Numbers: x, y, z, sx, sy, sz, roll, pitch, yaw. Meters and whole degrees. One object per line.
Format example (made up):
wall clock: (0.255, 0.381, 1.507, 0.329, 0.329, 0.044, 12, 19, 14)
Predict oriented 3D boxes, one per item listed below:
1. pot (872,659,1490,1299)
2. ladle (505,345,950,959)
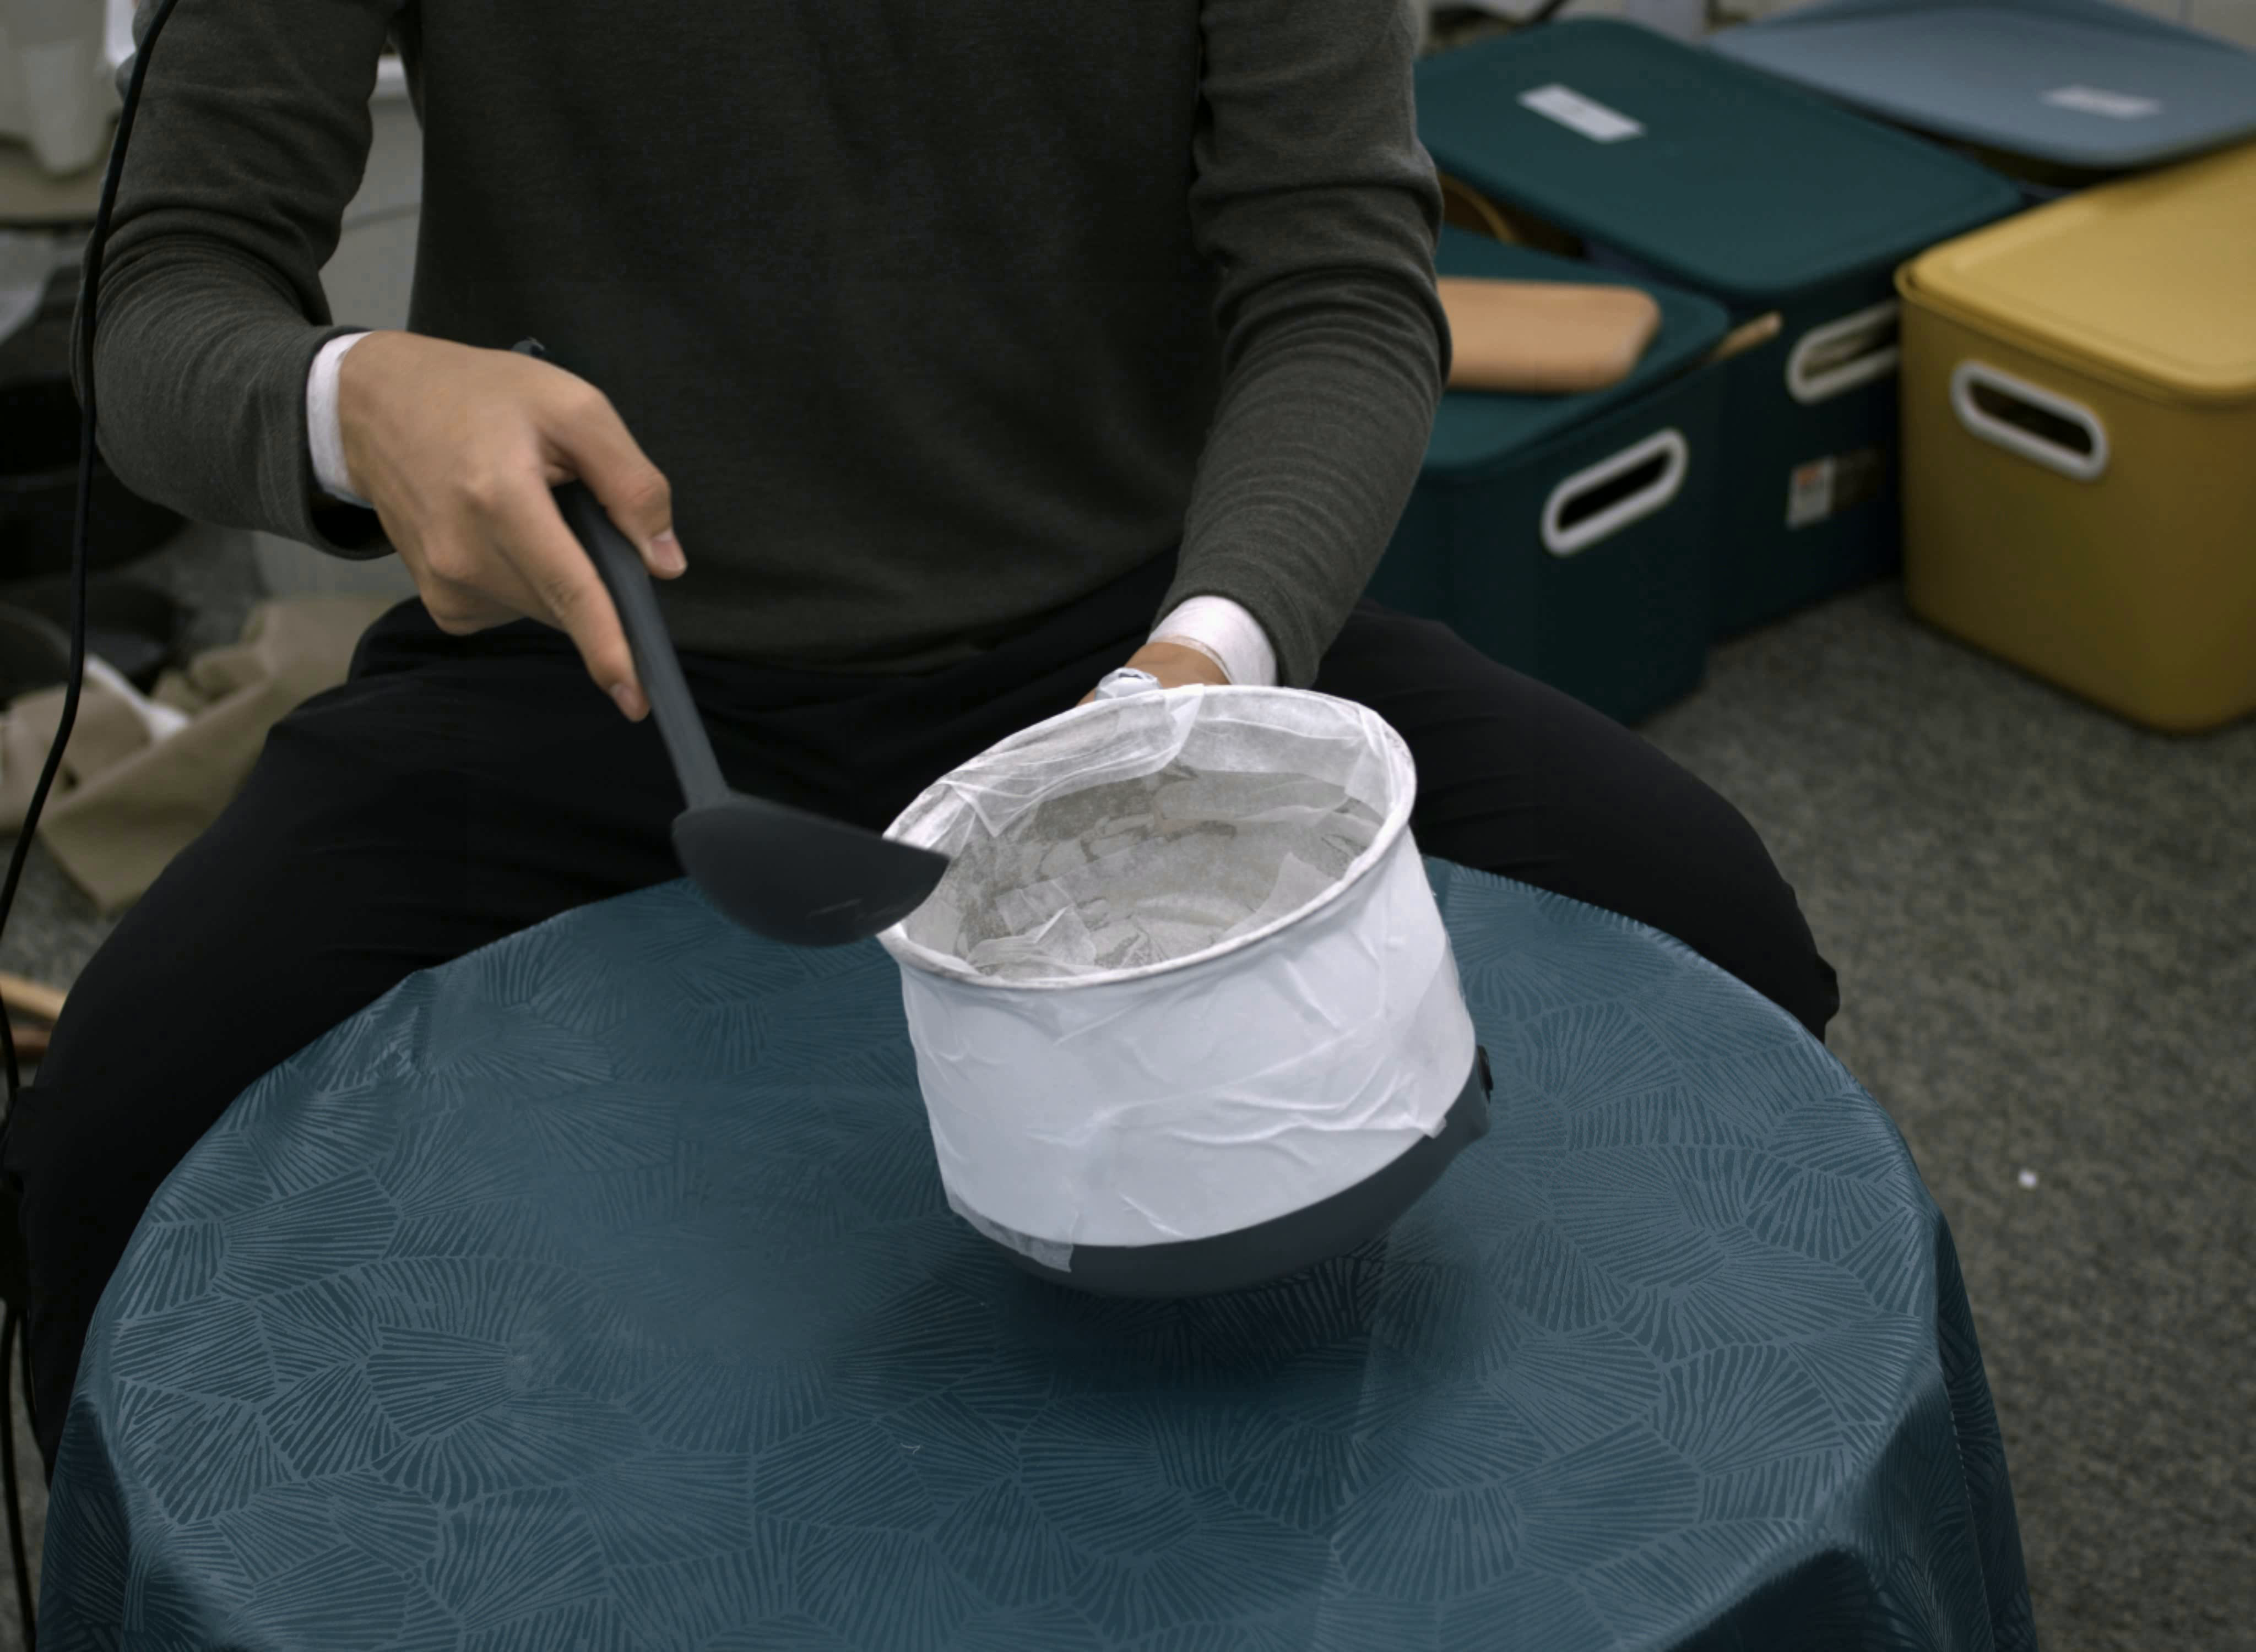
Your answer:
pot: (0.015, 0.040, 1.796, 0.178, 0.135, 0.237, -12, 28, 2)
ladle: (-0.140, -0.071, 1.766, 0.086, 0.063, 0.318, 21, 30, -37)
